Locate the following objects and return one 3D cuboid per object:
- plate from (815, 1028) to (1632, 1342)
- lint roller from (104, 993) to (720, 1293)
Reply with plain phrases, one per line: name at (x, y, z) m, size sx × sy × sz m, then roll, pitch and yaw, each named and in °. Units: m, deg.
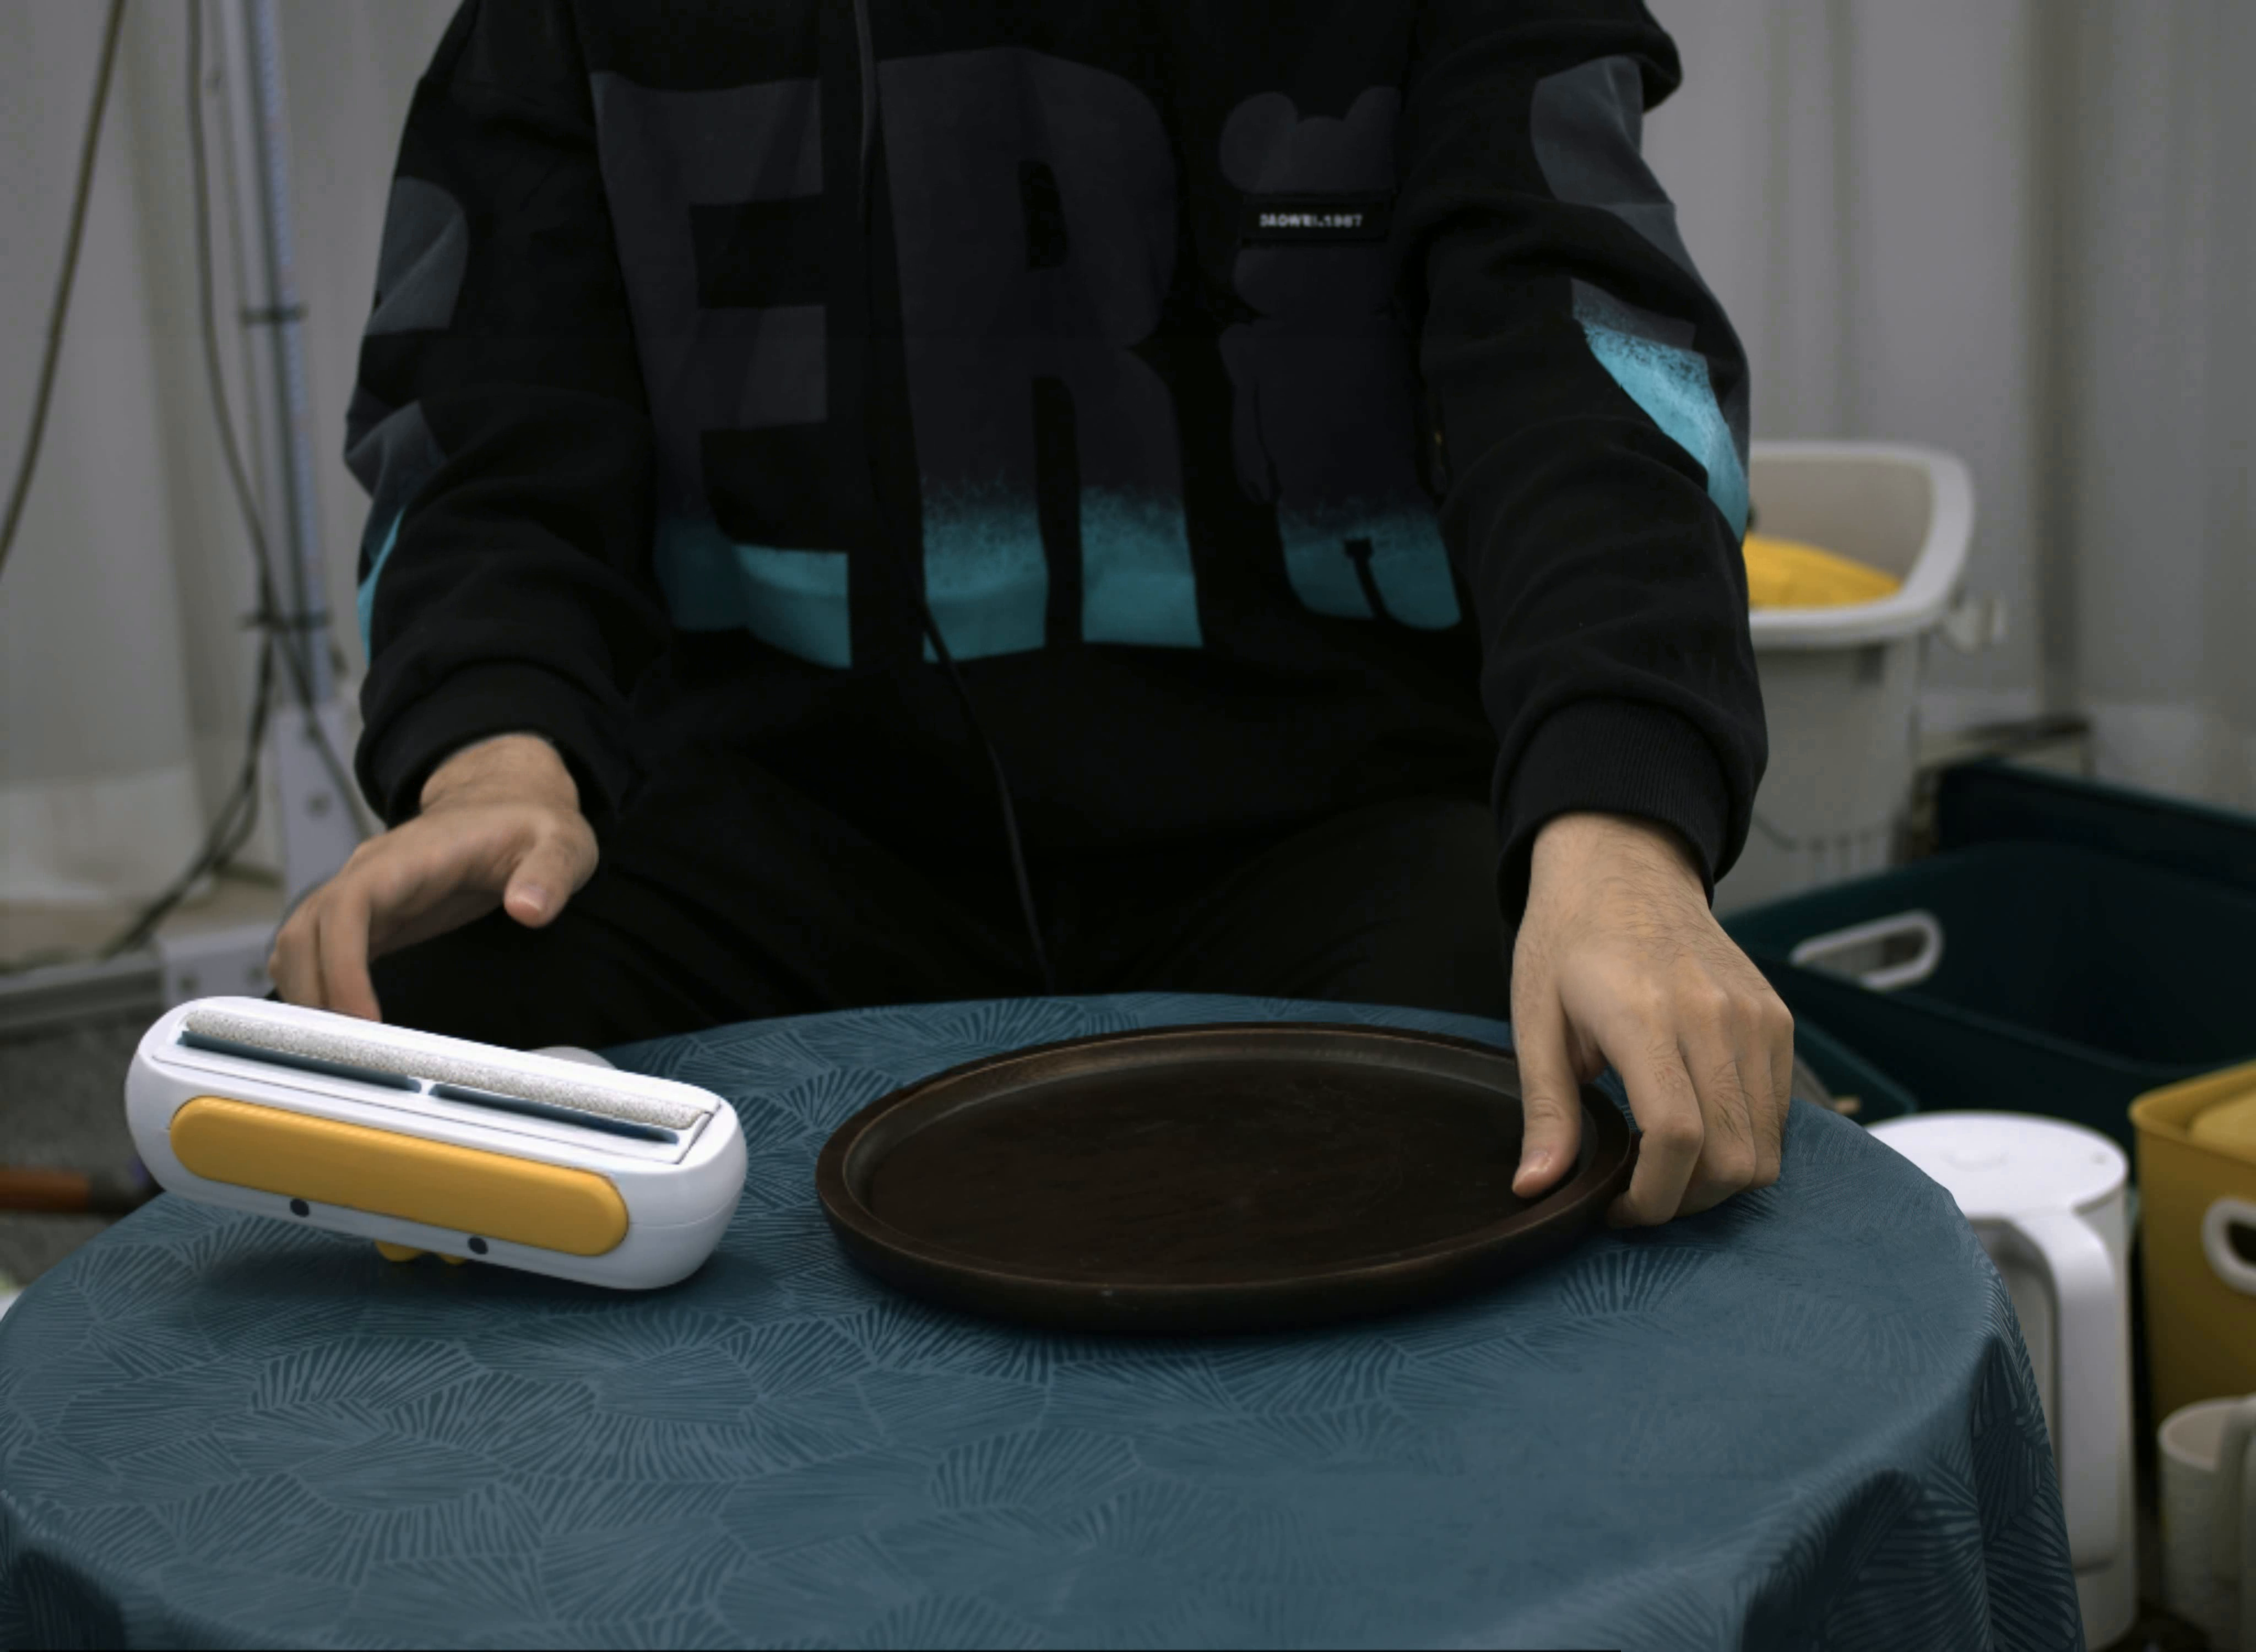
plate at (0.030, 0.109, 1.688) m, size 0.254 × 0.029 × 0.256 m, roll -3°, pitch 14°, yaw 0°
lint roller at (-0.201, 0.088, 1.723) m, size 0.193 × 0.074 × 0.193 m, roll 7°, pitch 16°, yaw 16°
